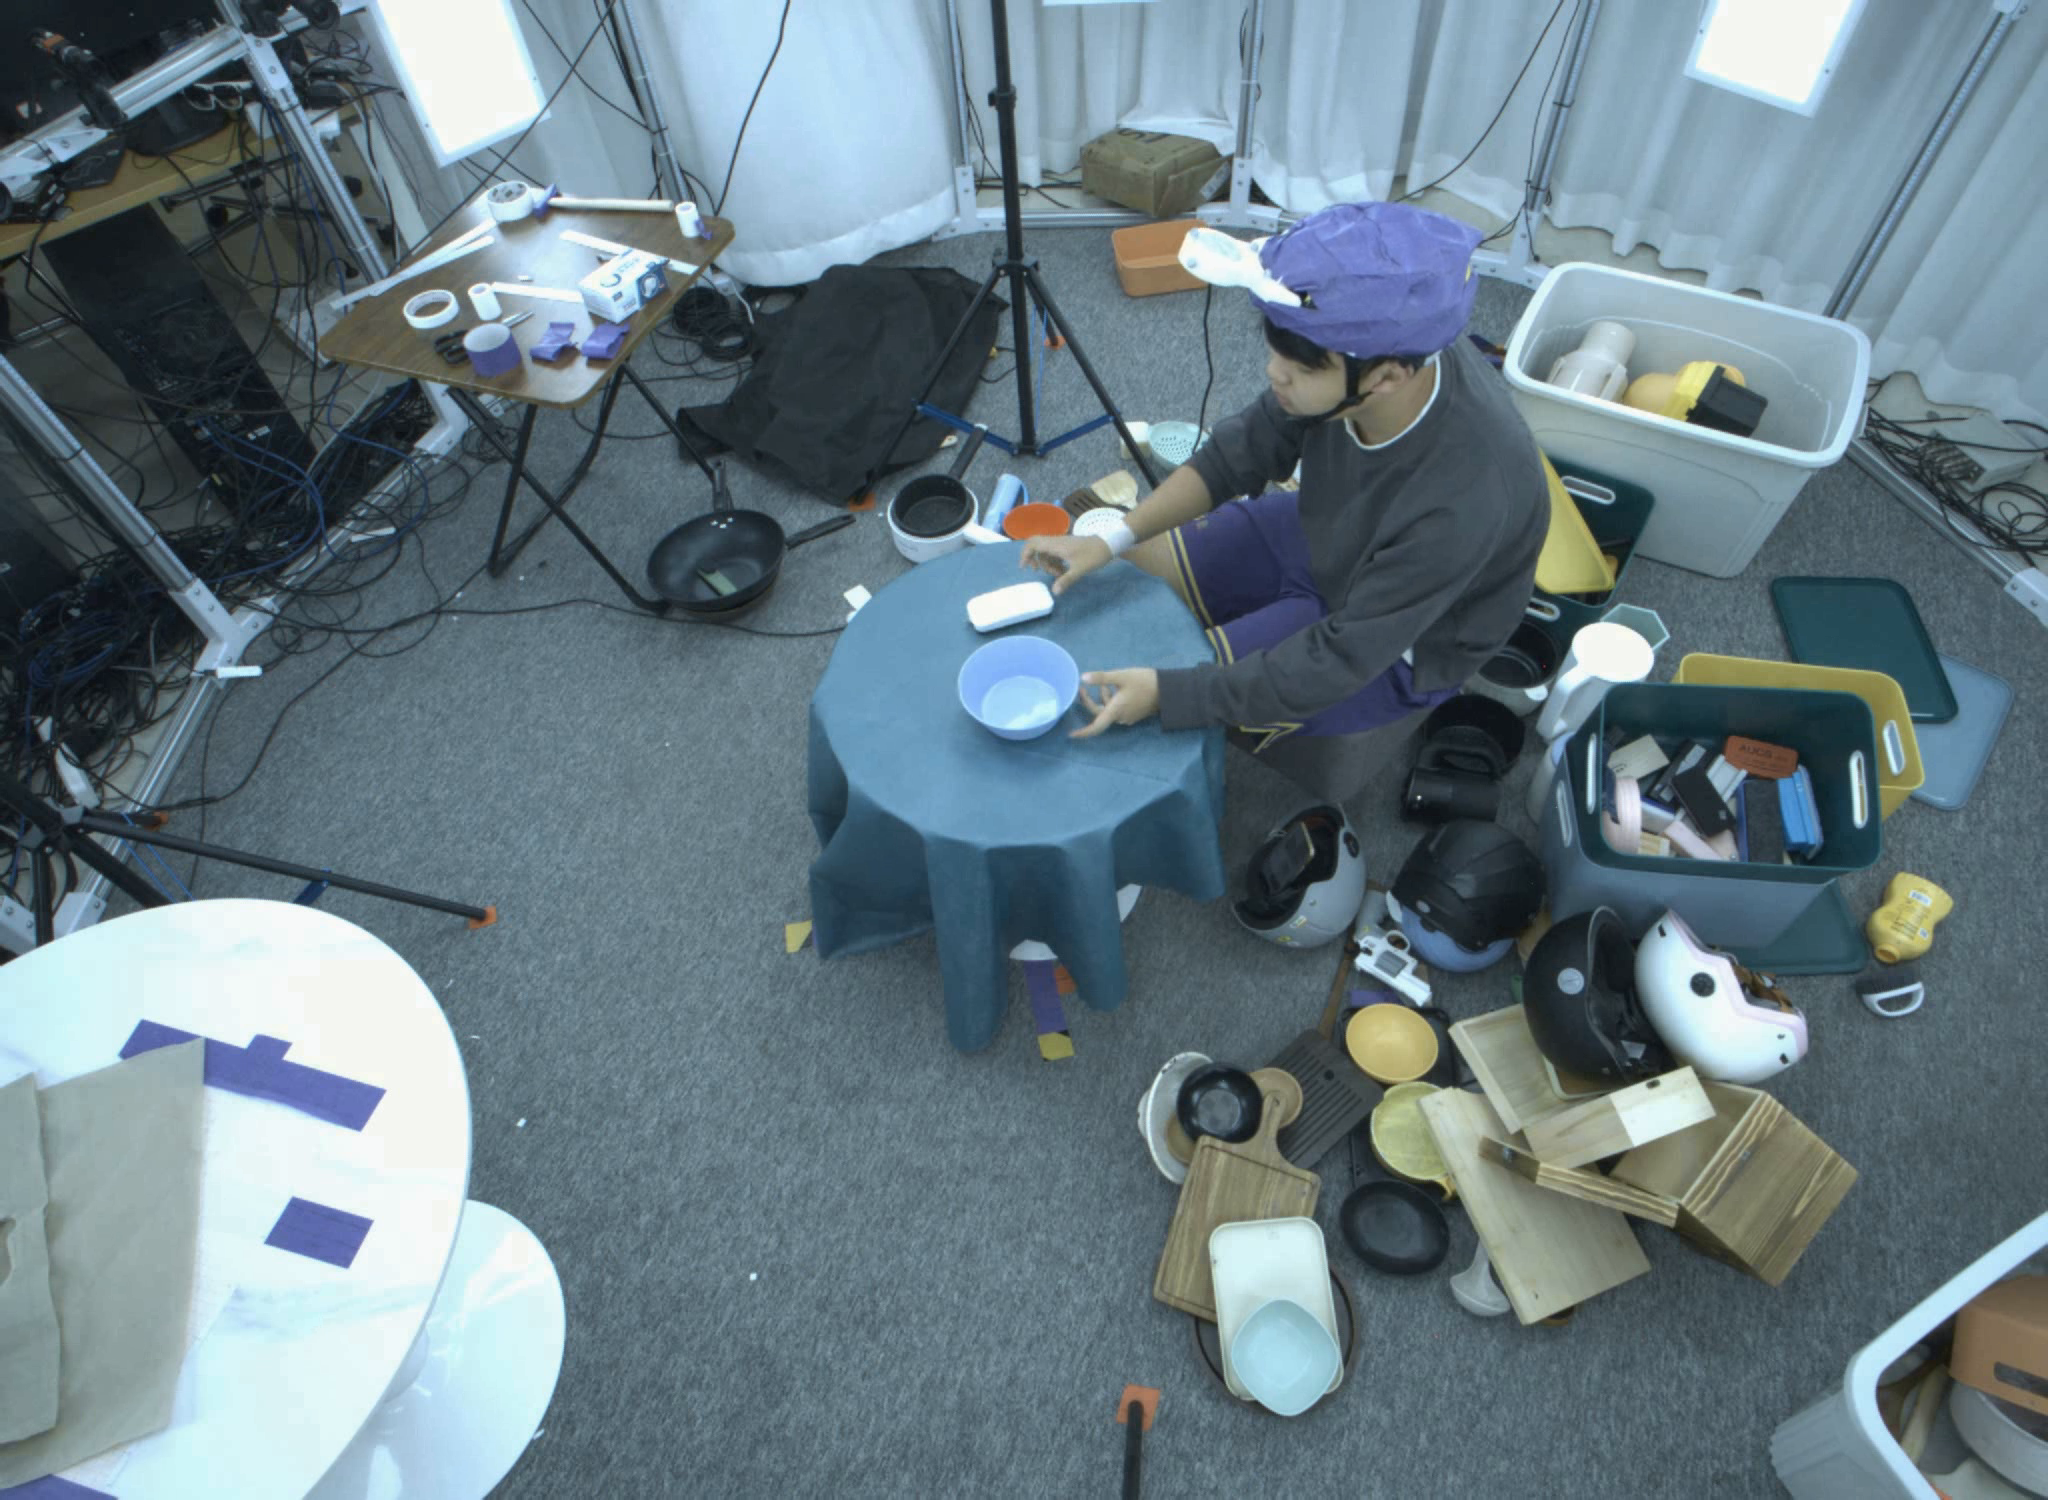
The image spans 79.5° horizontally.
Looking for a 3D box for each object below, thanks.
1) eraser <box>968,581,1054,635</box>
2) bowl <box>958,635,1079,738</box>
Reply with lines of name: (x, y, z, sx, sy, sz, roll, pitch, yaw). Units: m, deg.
eraser: (-0.021, -0.224, 1.930, 0.132, 0.035, 0.062, -16, 57, -7)
bowl: (-0.007, -0.083, 1.805, 0.176, 0.071, 0.174, -1, 56, 2)
